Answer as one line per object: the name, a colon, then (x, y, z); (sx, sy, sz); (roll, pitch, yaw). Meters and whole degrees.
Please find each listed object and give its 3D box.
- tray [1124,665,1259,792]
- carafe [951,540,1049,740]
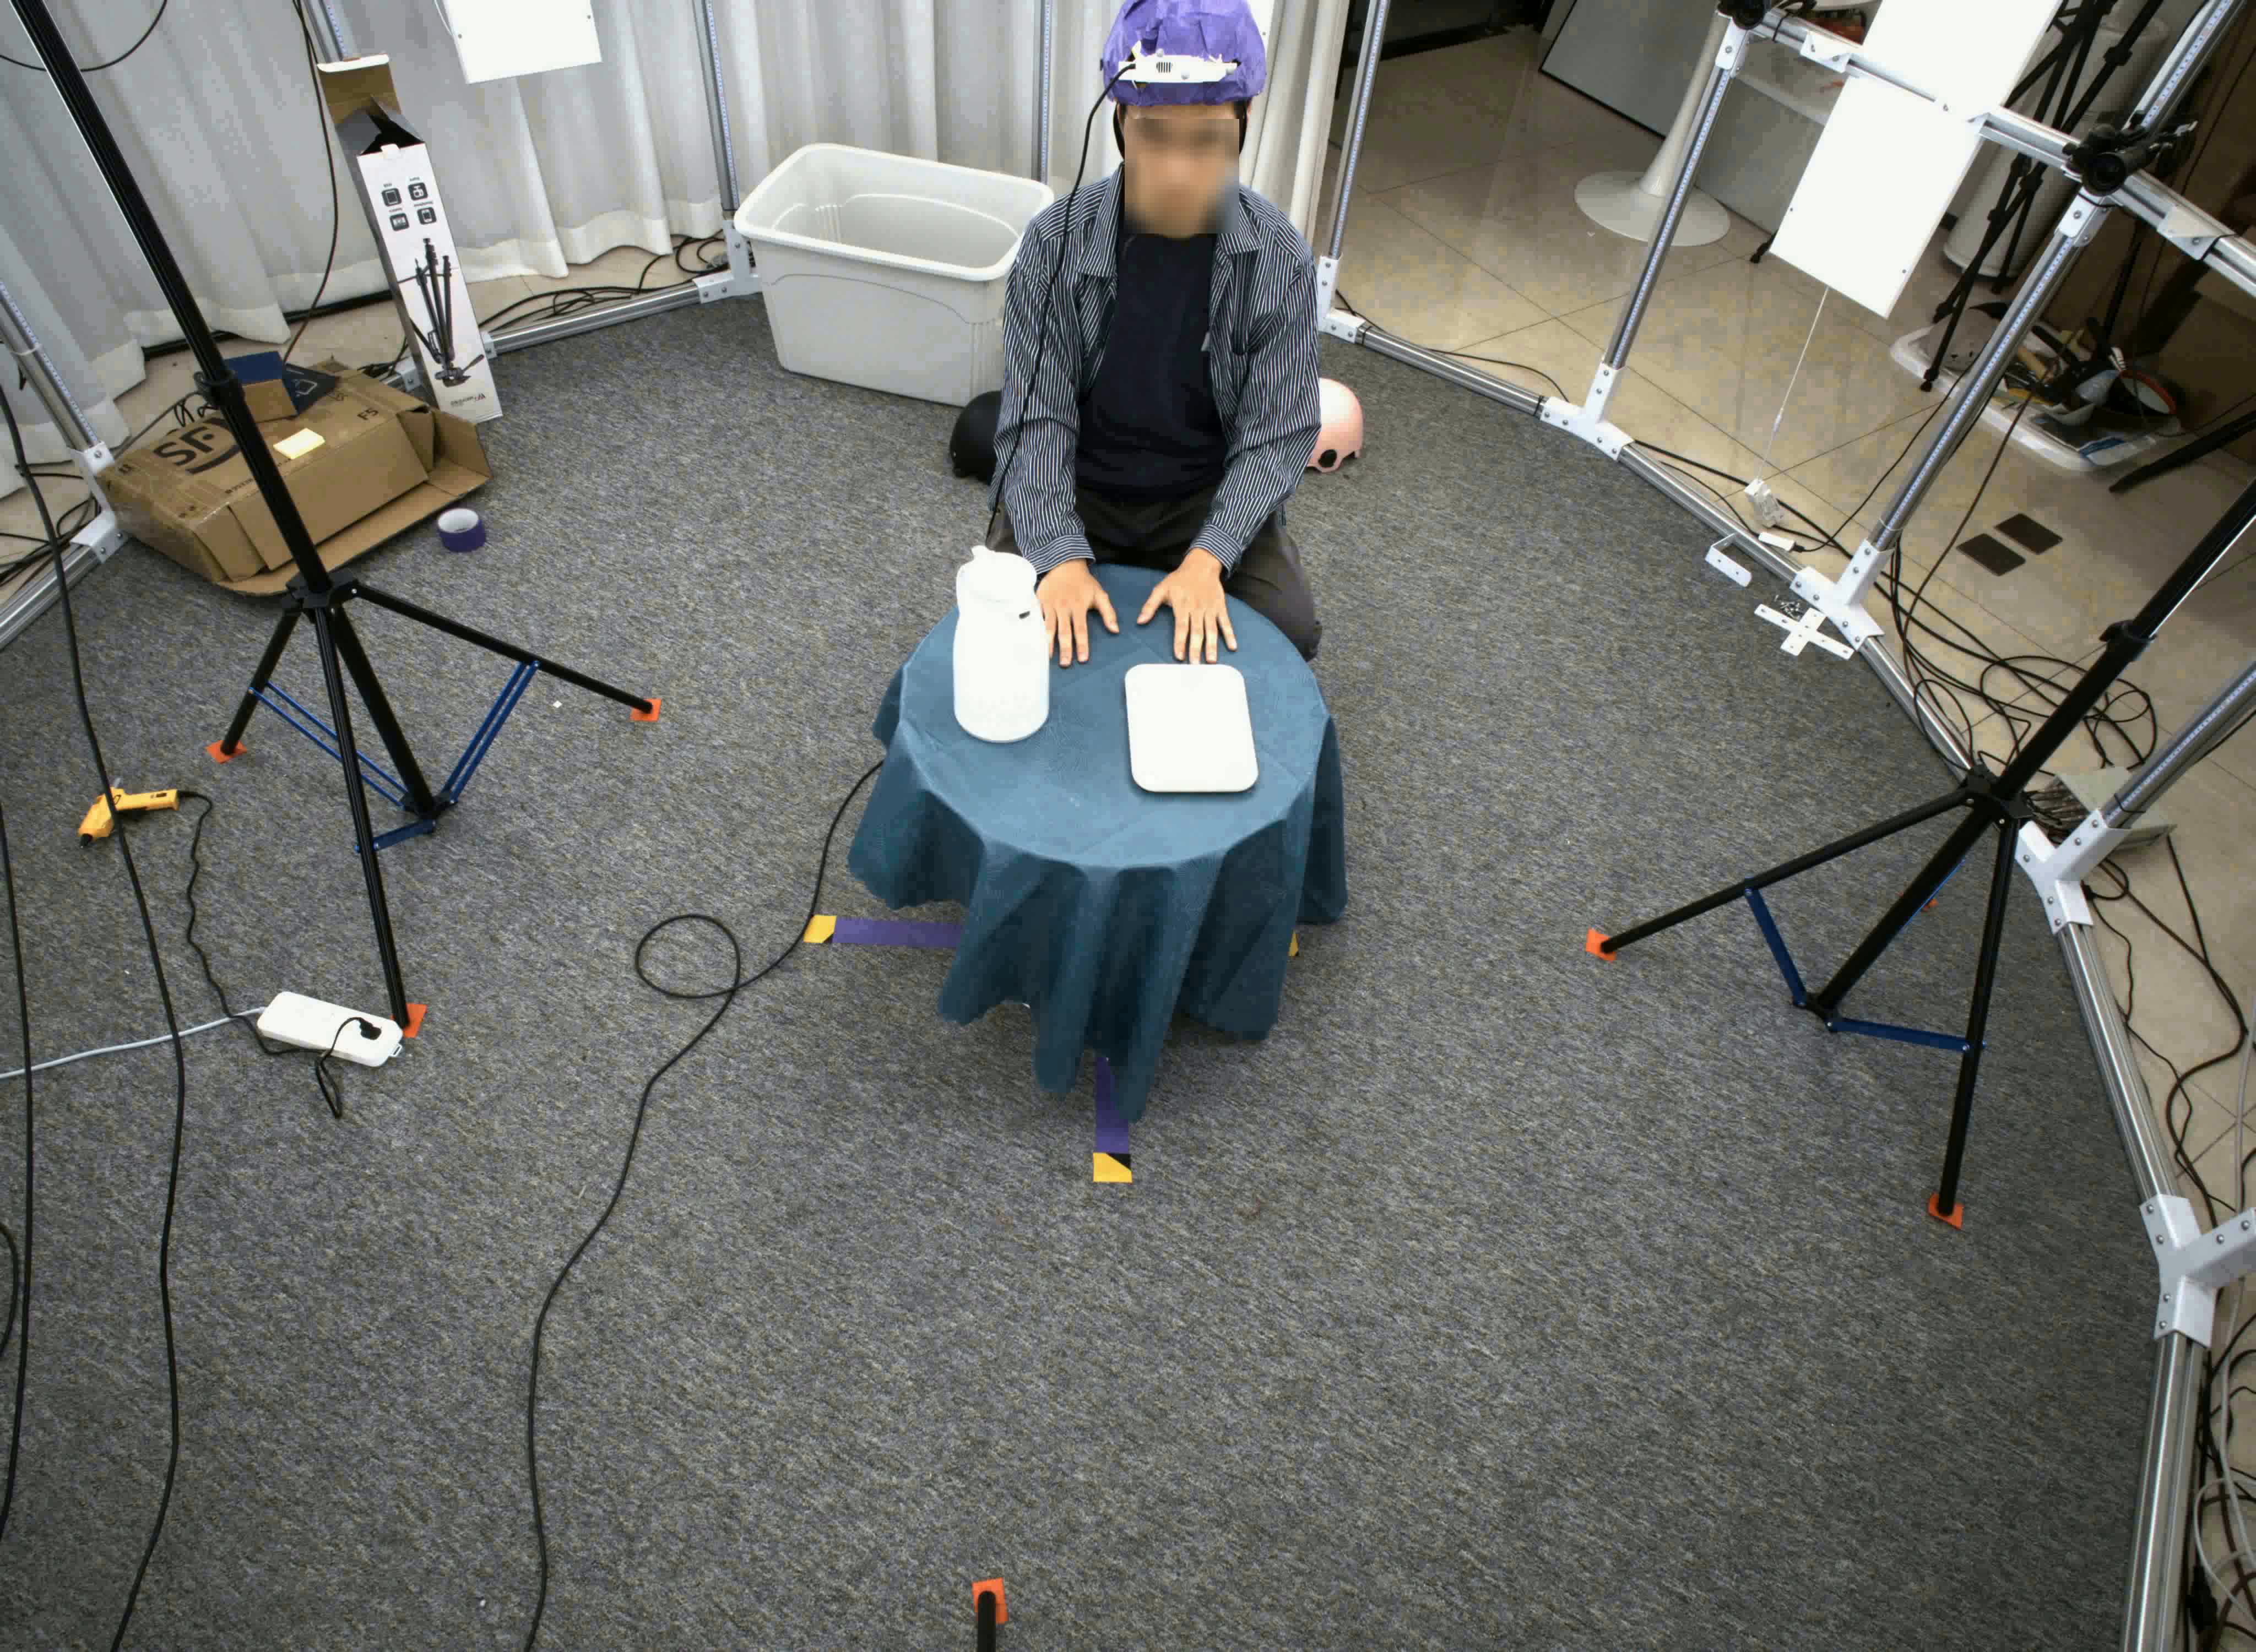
tray: (0.084, -0.136, 1.773); (0.171, 0.017, 0.246); (0, 48, -5)
carafe: (-0.180, -0.257, 1.703); (0.133, 0.242, 0.171); (-28, 56, -26)
